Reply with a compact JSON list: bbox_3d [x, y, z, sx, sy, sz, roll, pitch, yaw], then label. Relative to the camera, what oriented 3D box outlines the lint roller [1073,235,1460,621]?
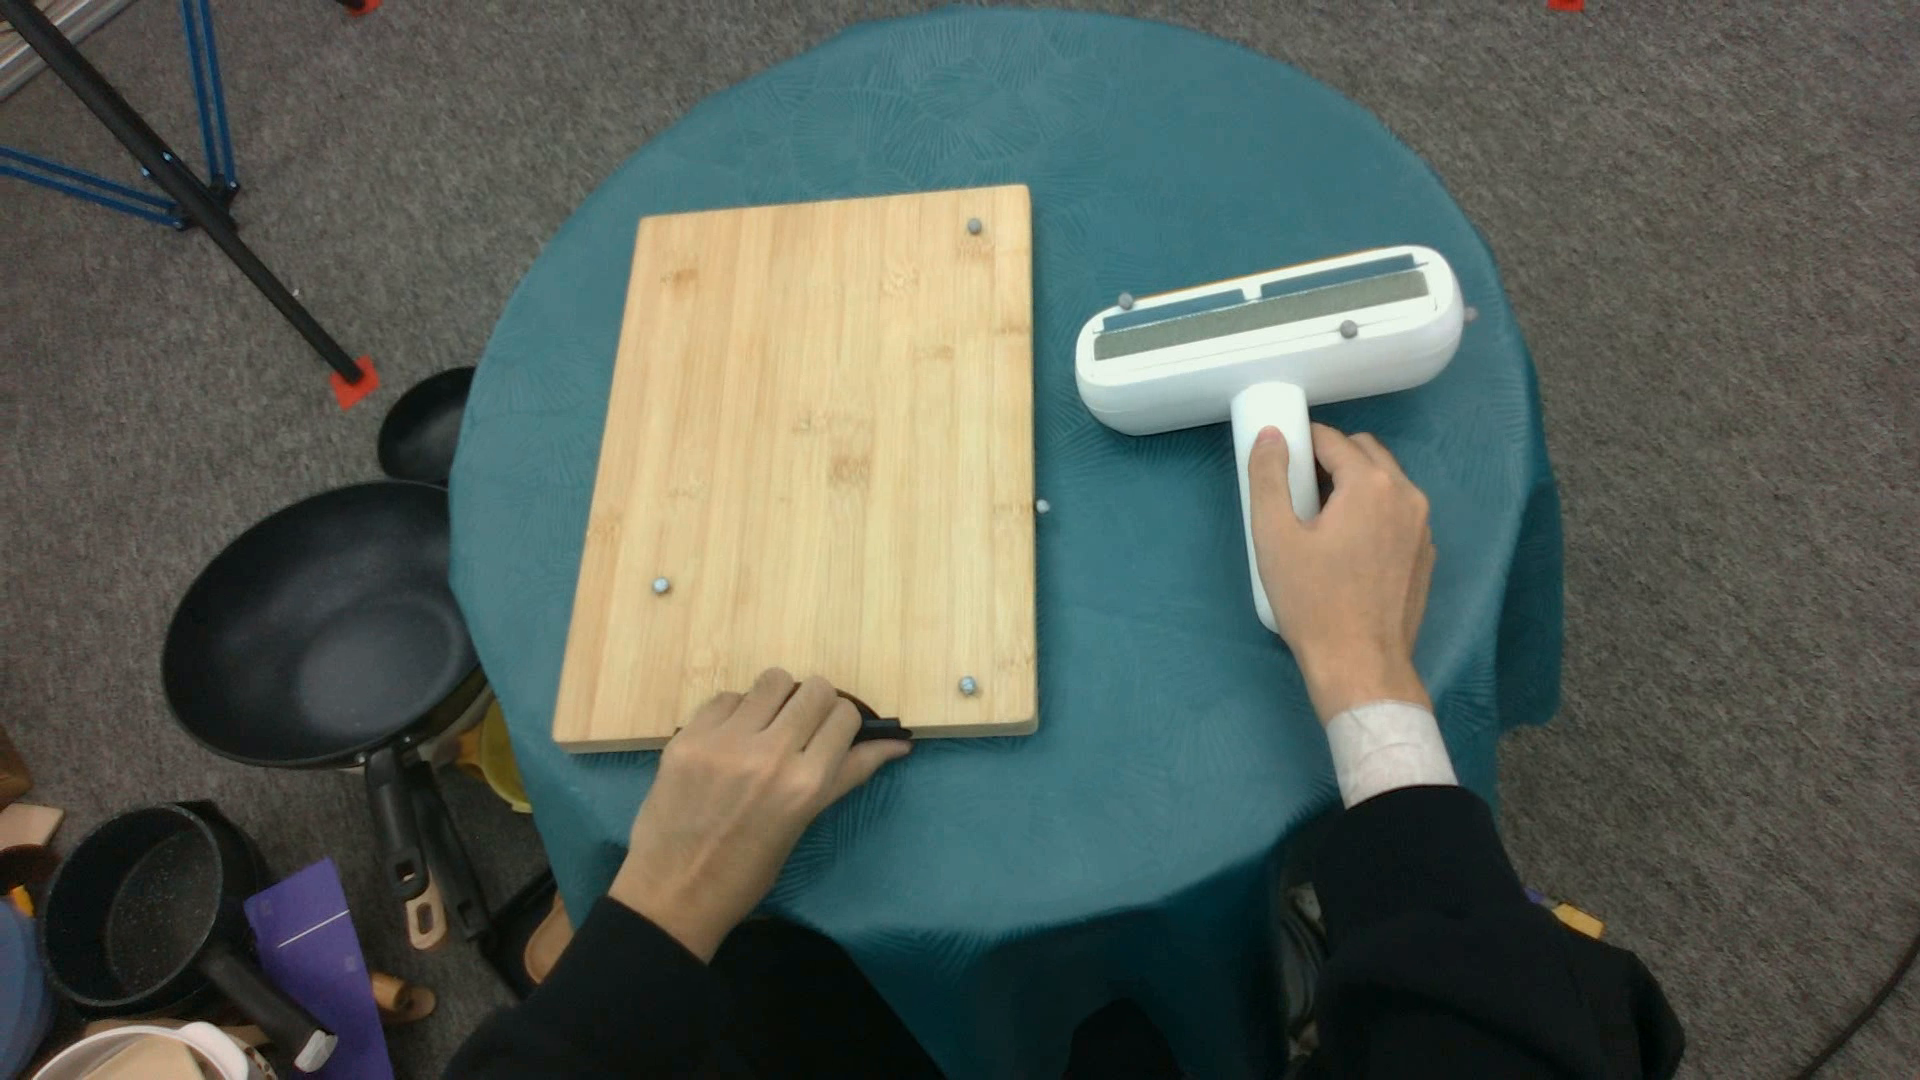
[{"bbox_3d":[0.150,-0.057,0.684,0.192,0.074,0.193,-3,61,15],"label":"lint roller"}]

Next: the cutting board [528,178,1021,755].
[{"bbox_3d":[-0.088,-0.054,0.748,0.250,0.023,0.350,-4,61,7],"label":"cutting board"}]
